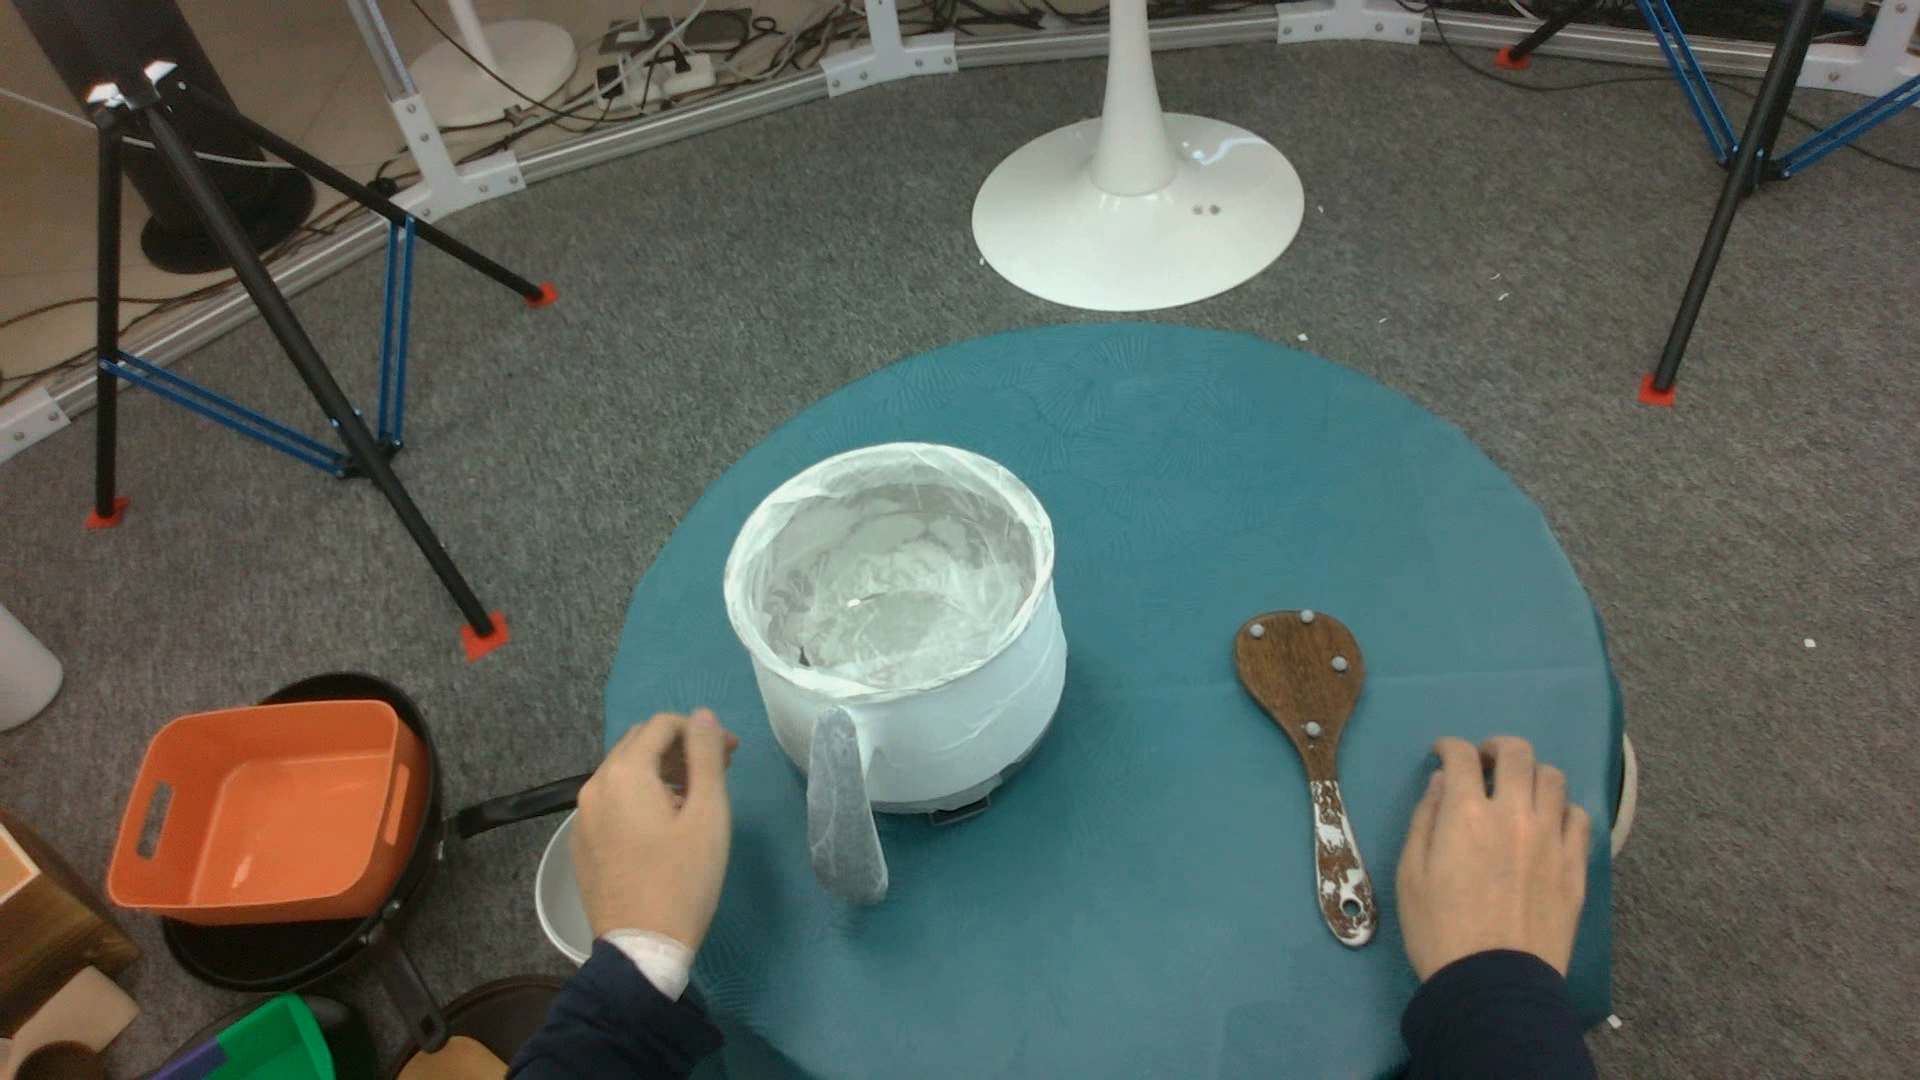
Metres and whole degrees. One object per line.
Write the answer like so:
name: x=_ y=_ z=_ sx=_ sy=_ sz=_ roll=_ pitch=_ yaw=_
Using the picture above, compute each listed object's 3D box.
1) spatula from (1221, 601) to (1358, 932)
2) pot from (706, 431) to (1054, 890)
spatula: x=0.190 y=0.117 z=0.766 sx=0.072 sy=0.009 sz=0.217 roll=-4 pitch=49 yaw=5
pot: x=-0.044 y=0.066 z=0.755 sx=0.178 sy=0.136 sz=0.235 roll=2 pitch=48 yaw=14
